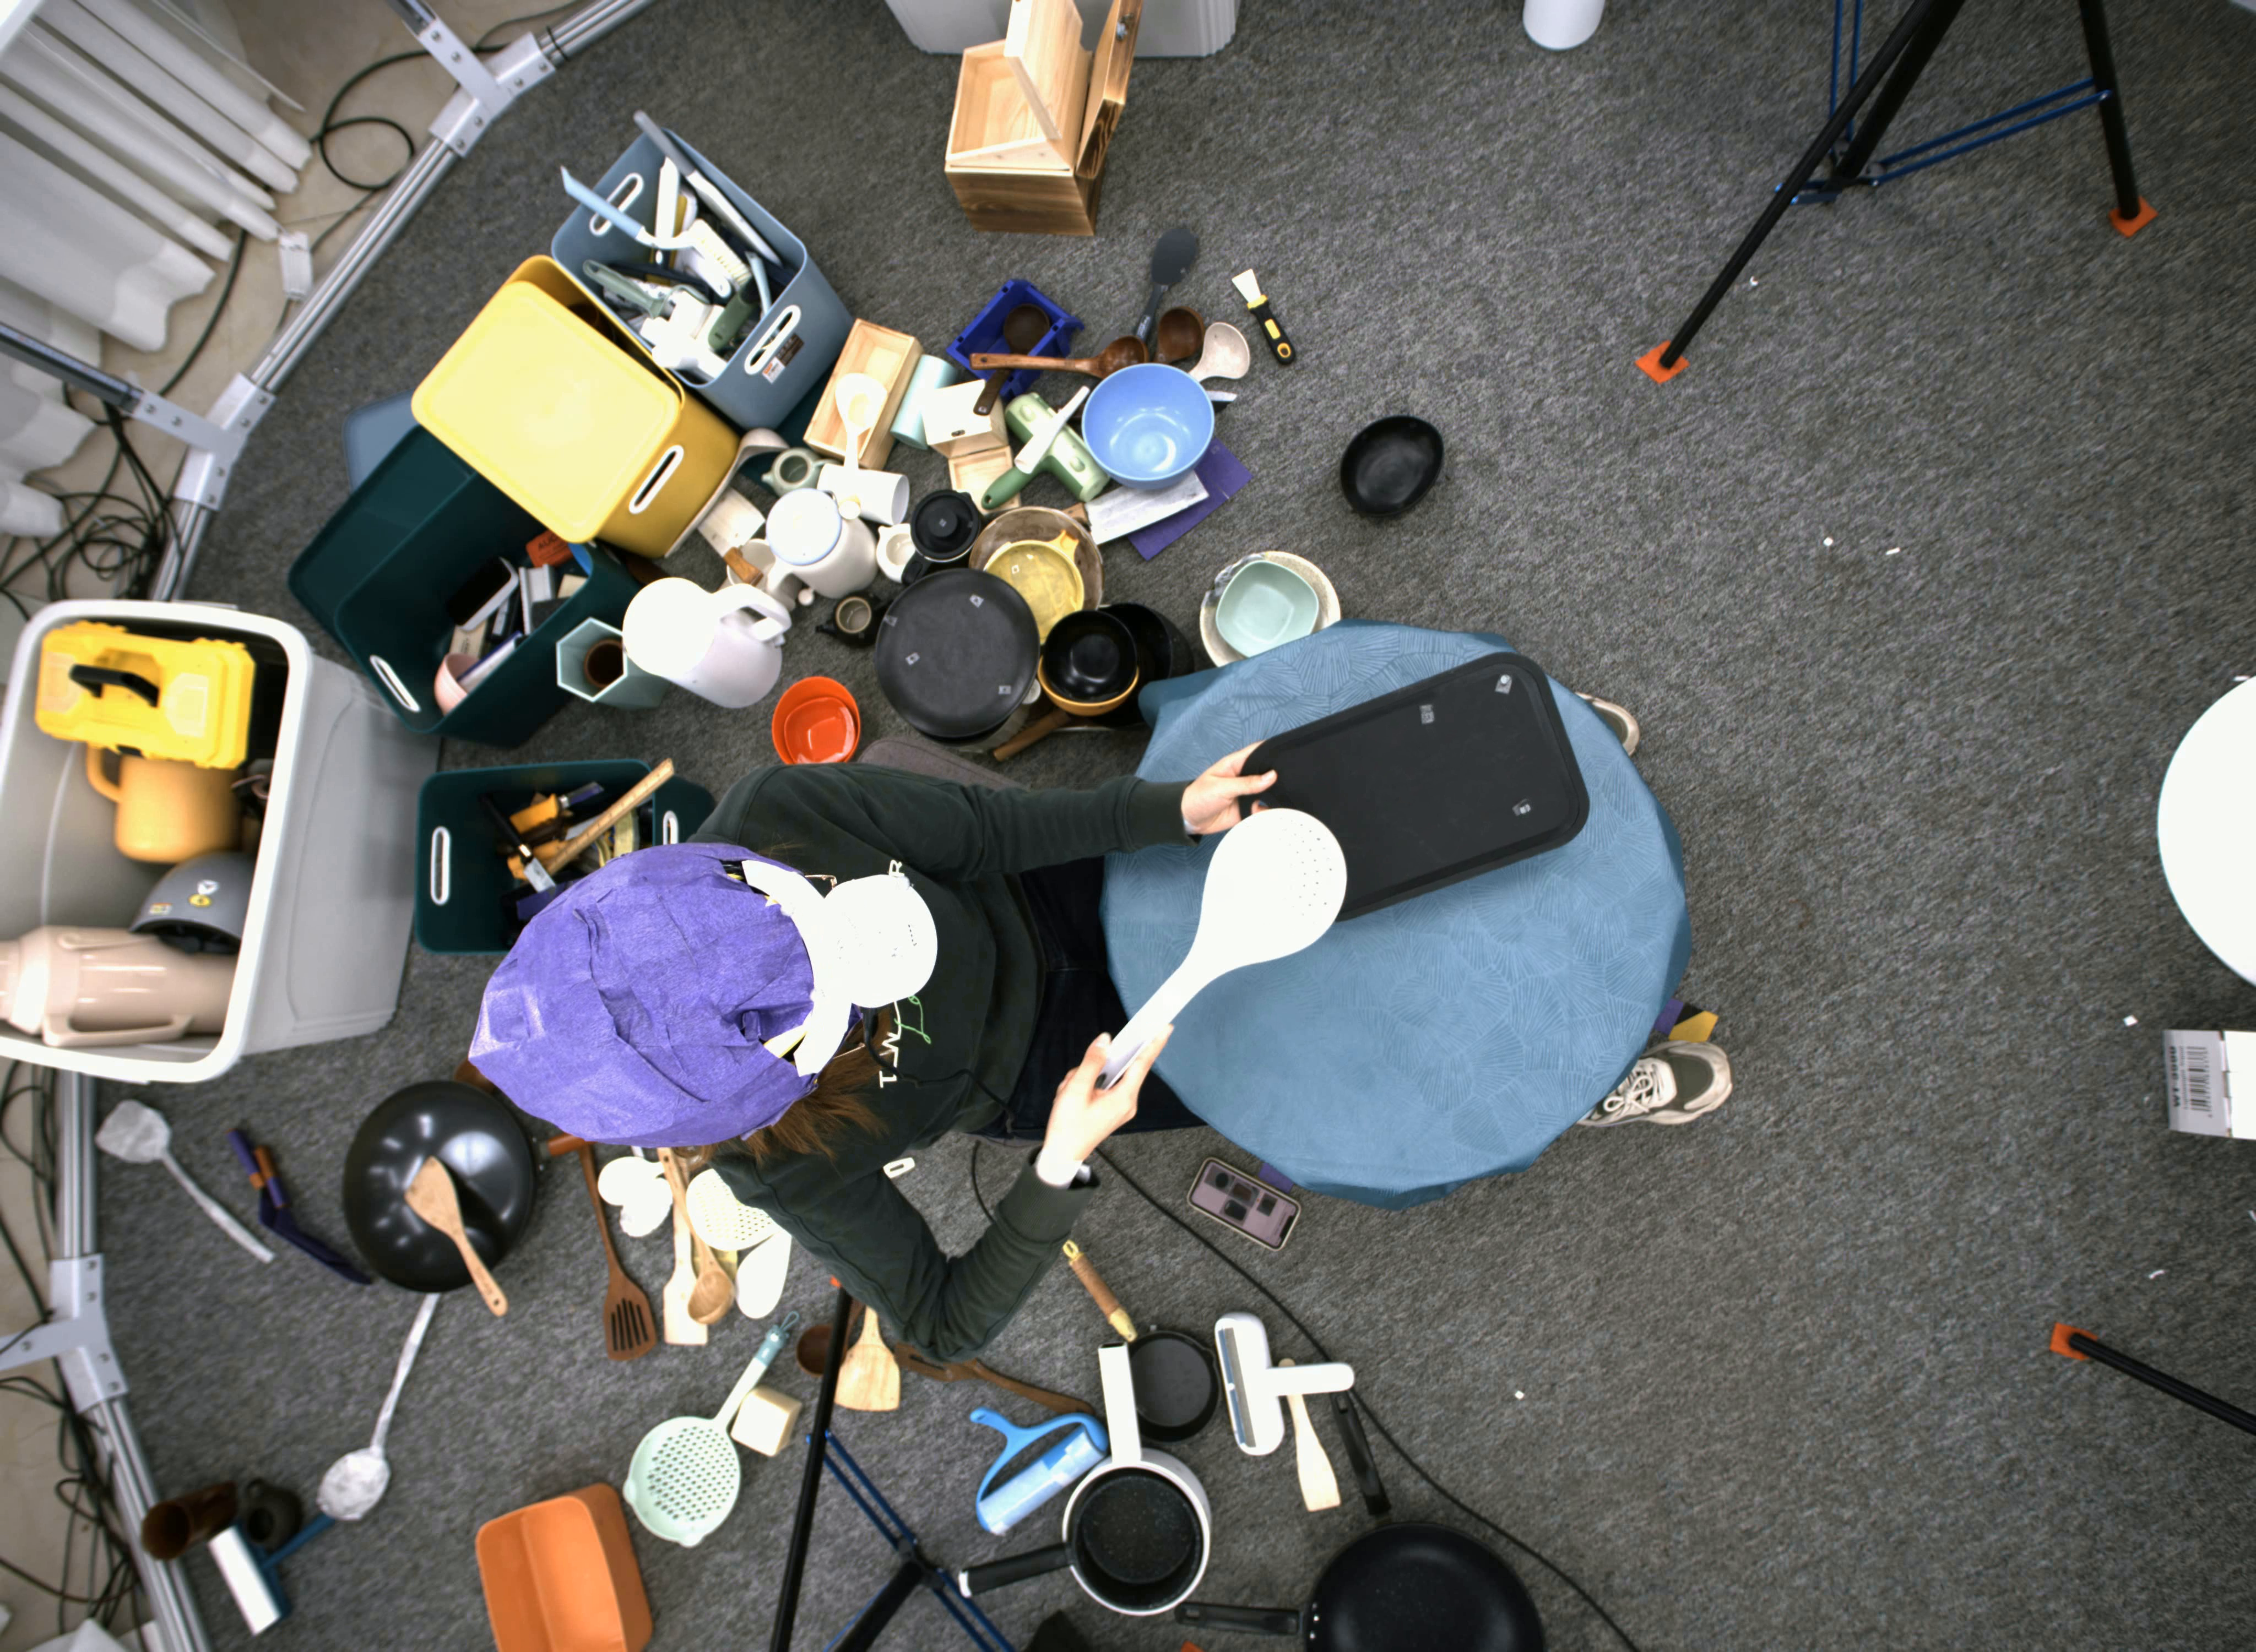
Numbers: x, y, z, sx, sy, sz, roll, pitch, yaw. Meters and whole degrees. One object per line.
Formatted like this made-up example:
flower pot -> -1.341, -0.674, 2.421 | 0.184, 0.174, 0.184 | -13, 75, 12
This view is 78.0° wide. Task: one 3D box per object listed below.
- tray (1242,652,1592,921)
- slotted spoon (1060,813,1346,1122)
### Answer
tray -> 0.275, -0.030, 1.341 | 0.328, 0.009, 0.213 | -20, 110, 16
slotted spoon -> 0.064, 0.134, 1.279 | 0.137, 0.046, 0.347 | 44, 80, -16
